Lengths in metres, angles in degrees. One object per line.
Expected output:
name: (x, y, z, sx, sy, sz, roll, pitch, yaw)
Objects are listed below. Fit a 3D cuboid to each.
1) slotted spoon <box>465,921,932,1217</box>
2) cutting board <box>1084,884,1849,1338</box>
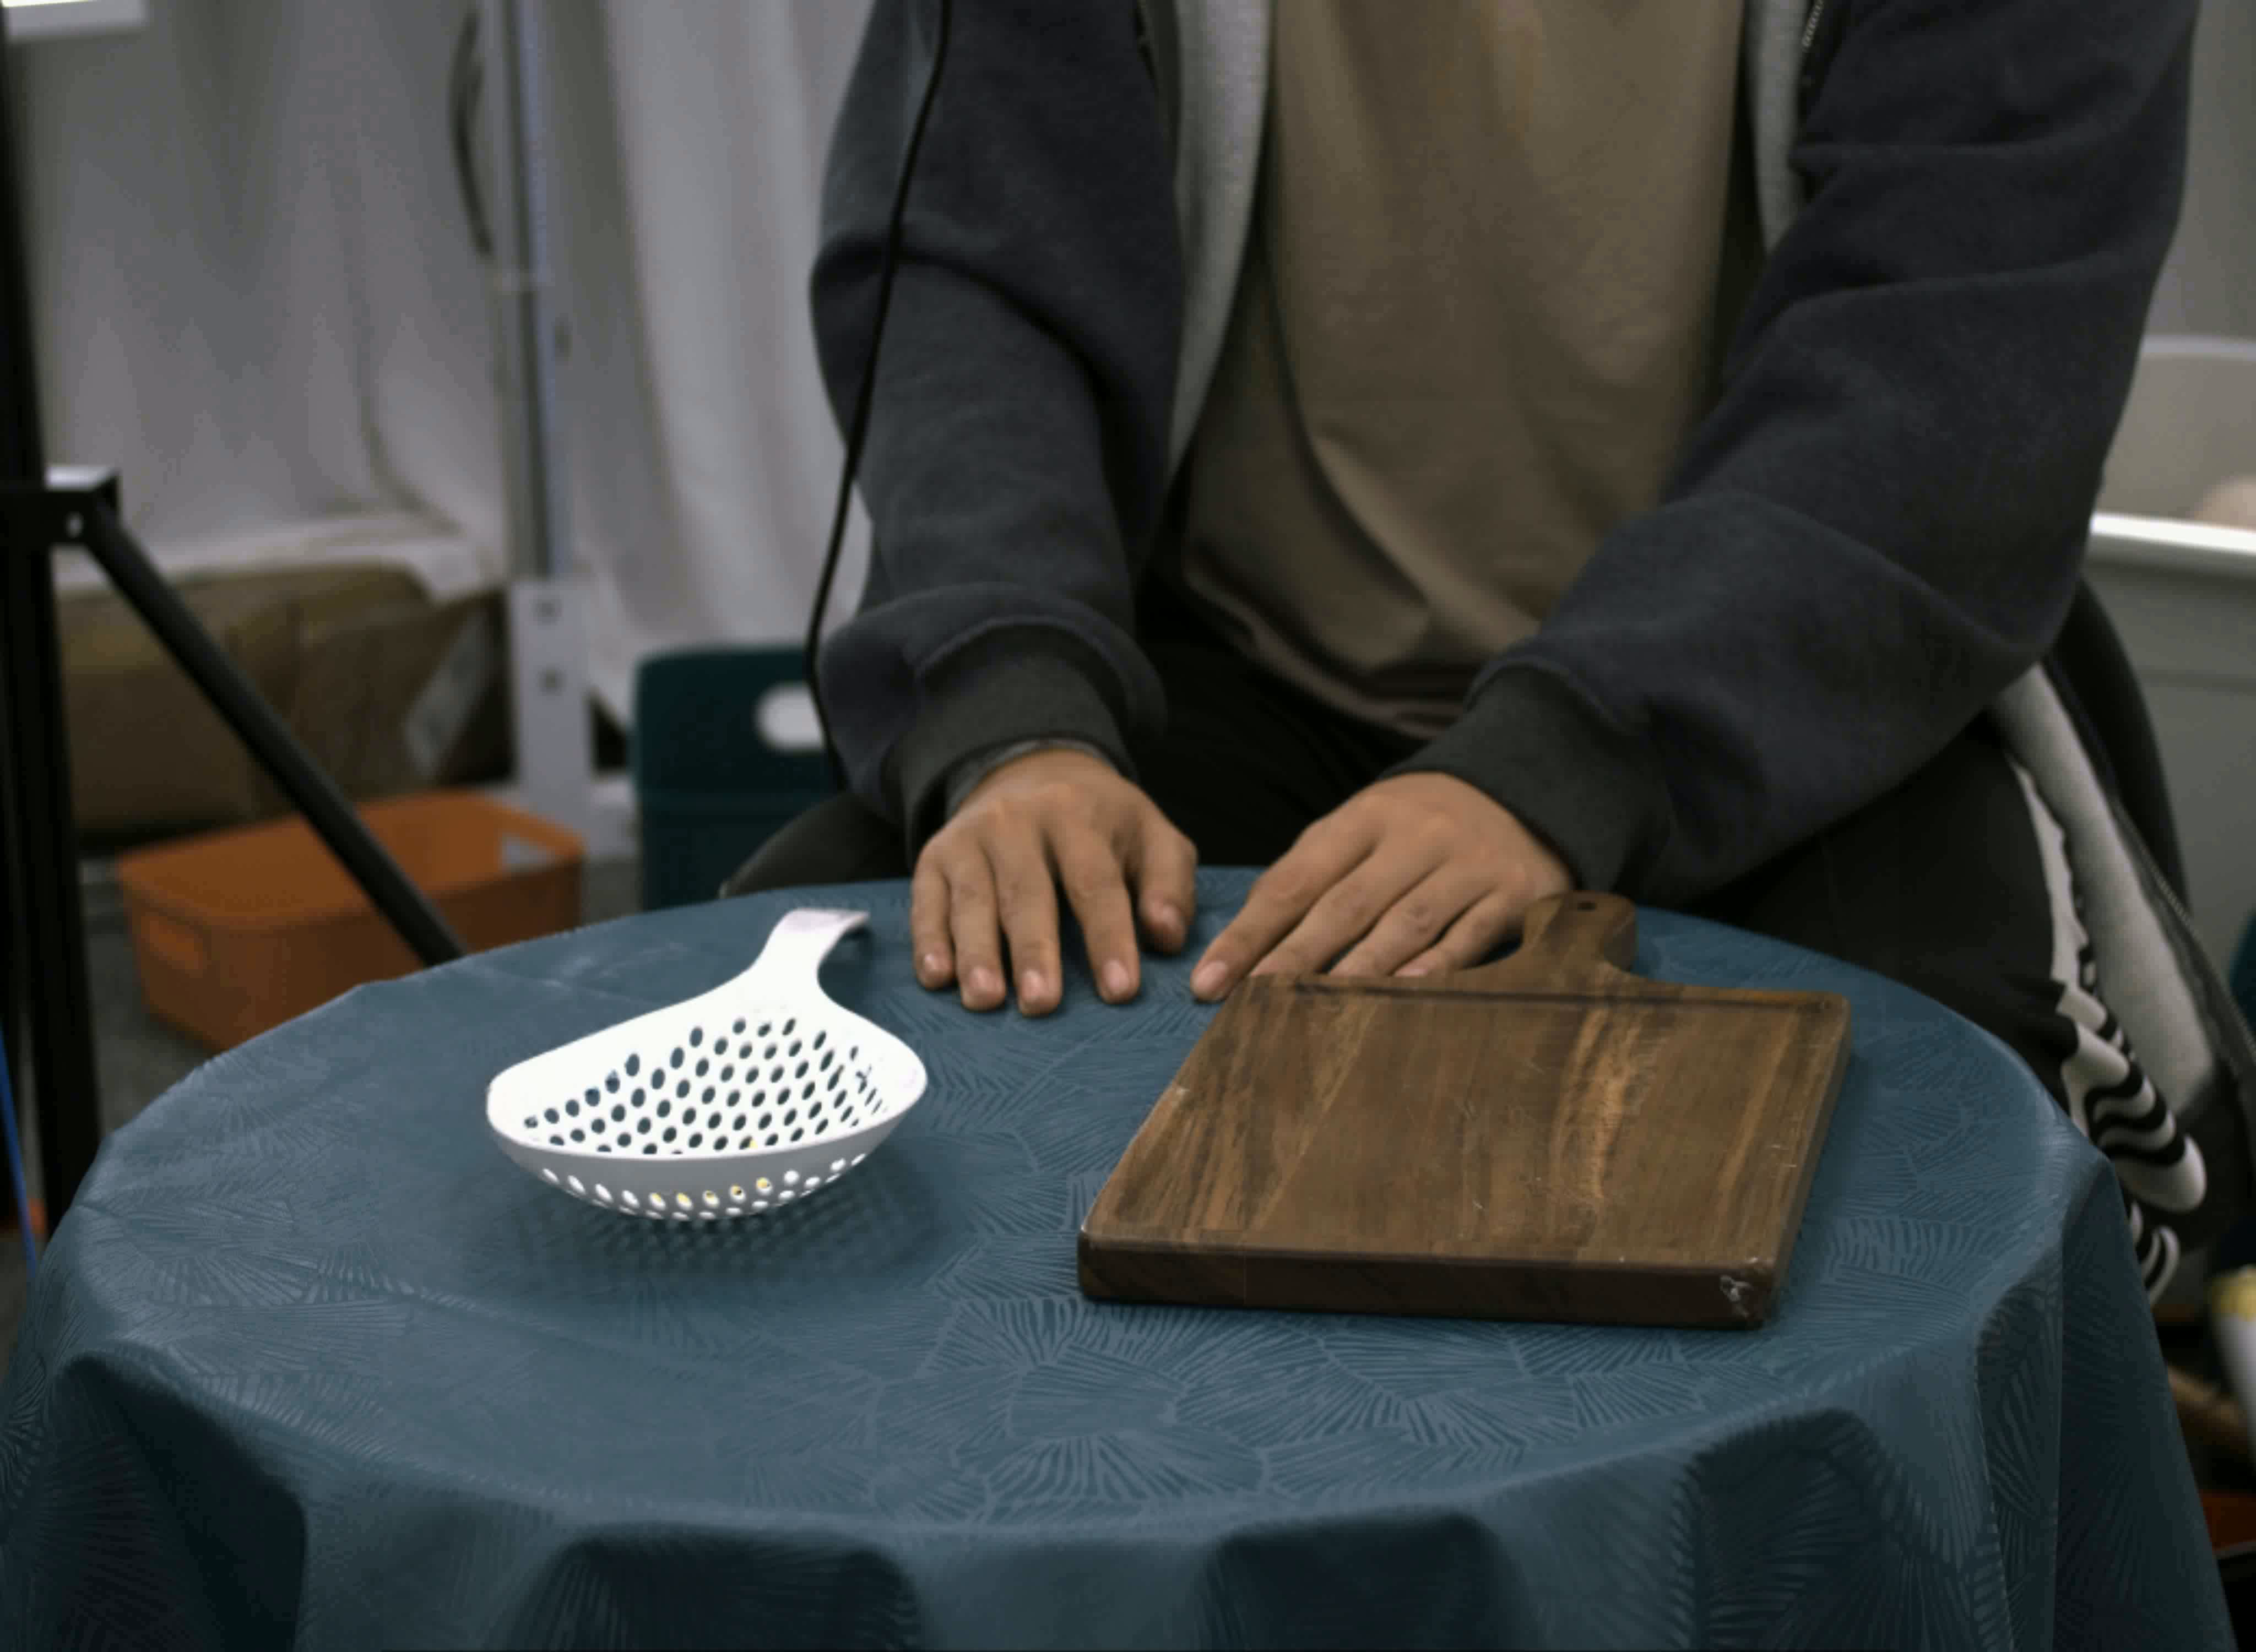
slotted spoon: (-0.114, 0.062, 1.666, 0.137, 0.050, 0.348, -3, 16, 6)
cutting board: (0.116, 0.079, 1.608, 0.202, 0.023, 0.350, 2, 17, 13)
